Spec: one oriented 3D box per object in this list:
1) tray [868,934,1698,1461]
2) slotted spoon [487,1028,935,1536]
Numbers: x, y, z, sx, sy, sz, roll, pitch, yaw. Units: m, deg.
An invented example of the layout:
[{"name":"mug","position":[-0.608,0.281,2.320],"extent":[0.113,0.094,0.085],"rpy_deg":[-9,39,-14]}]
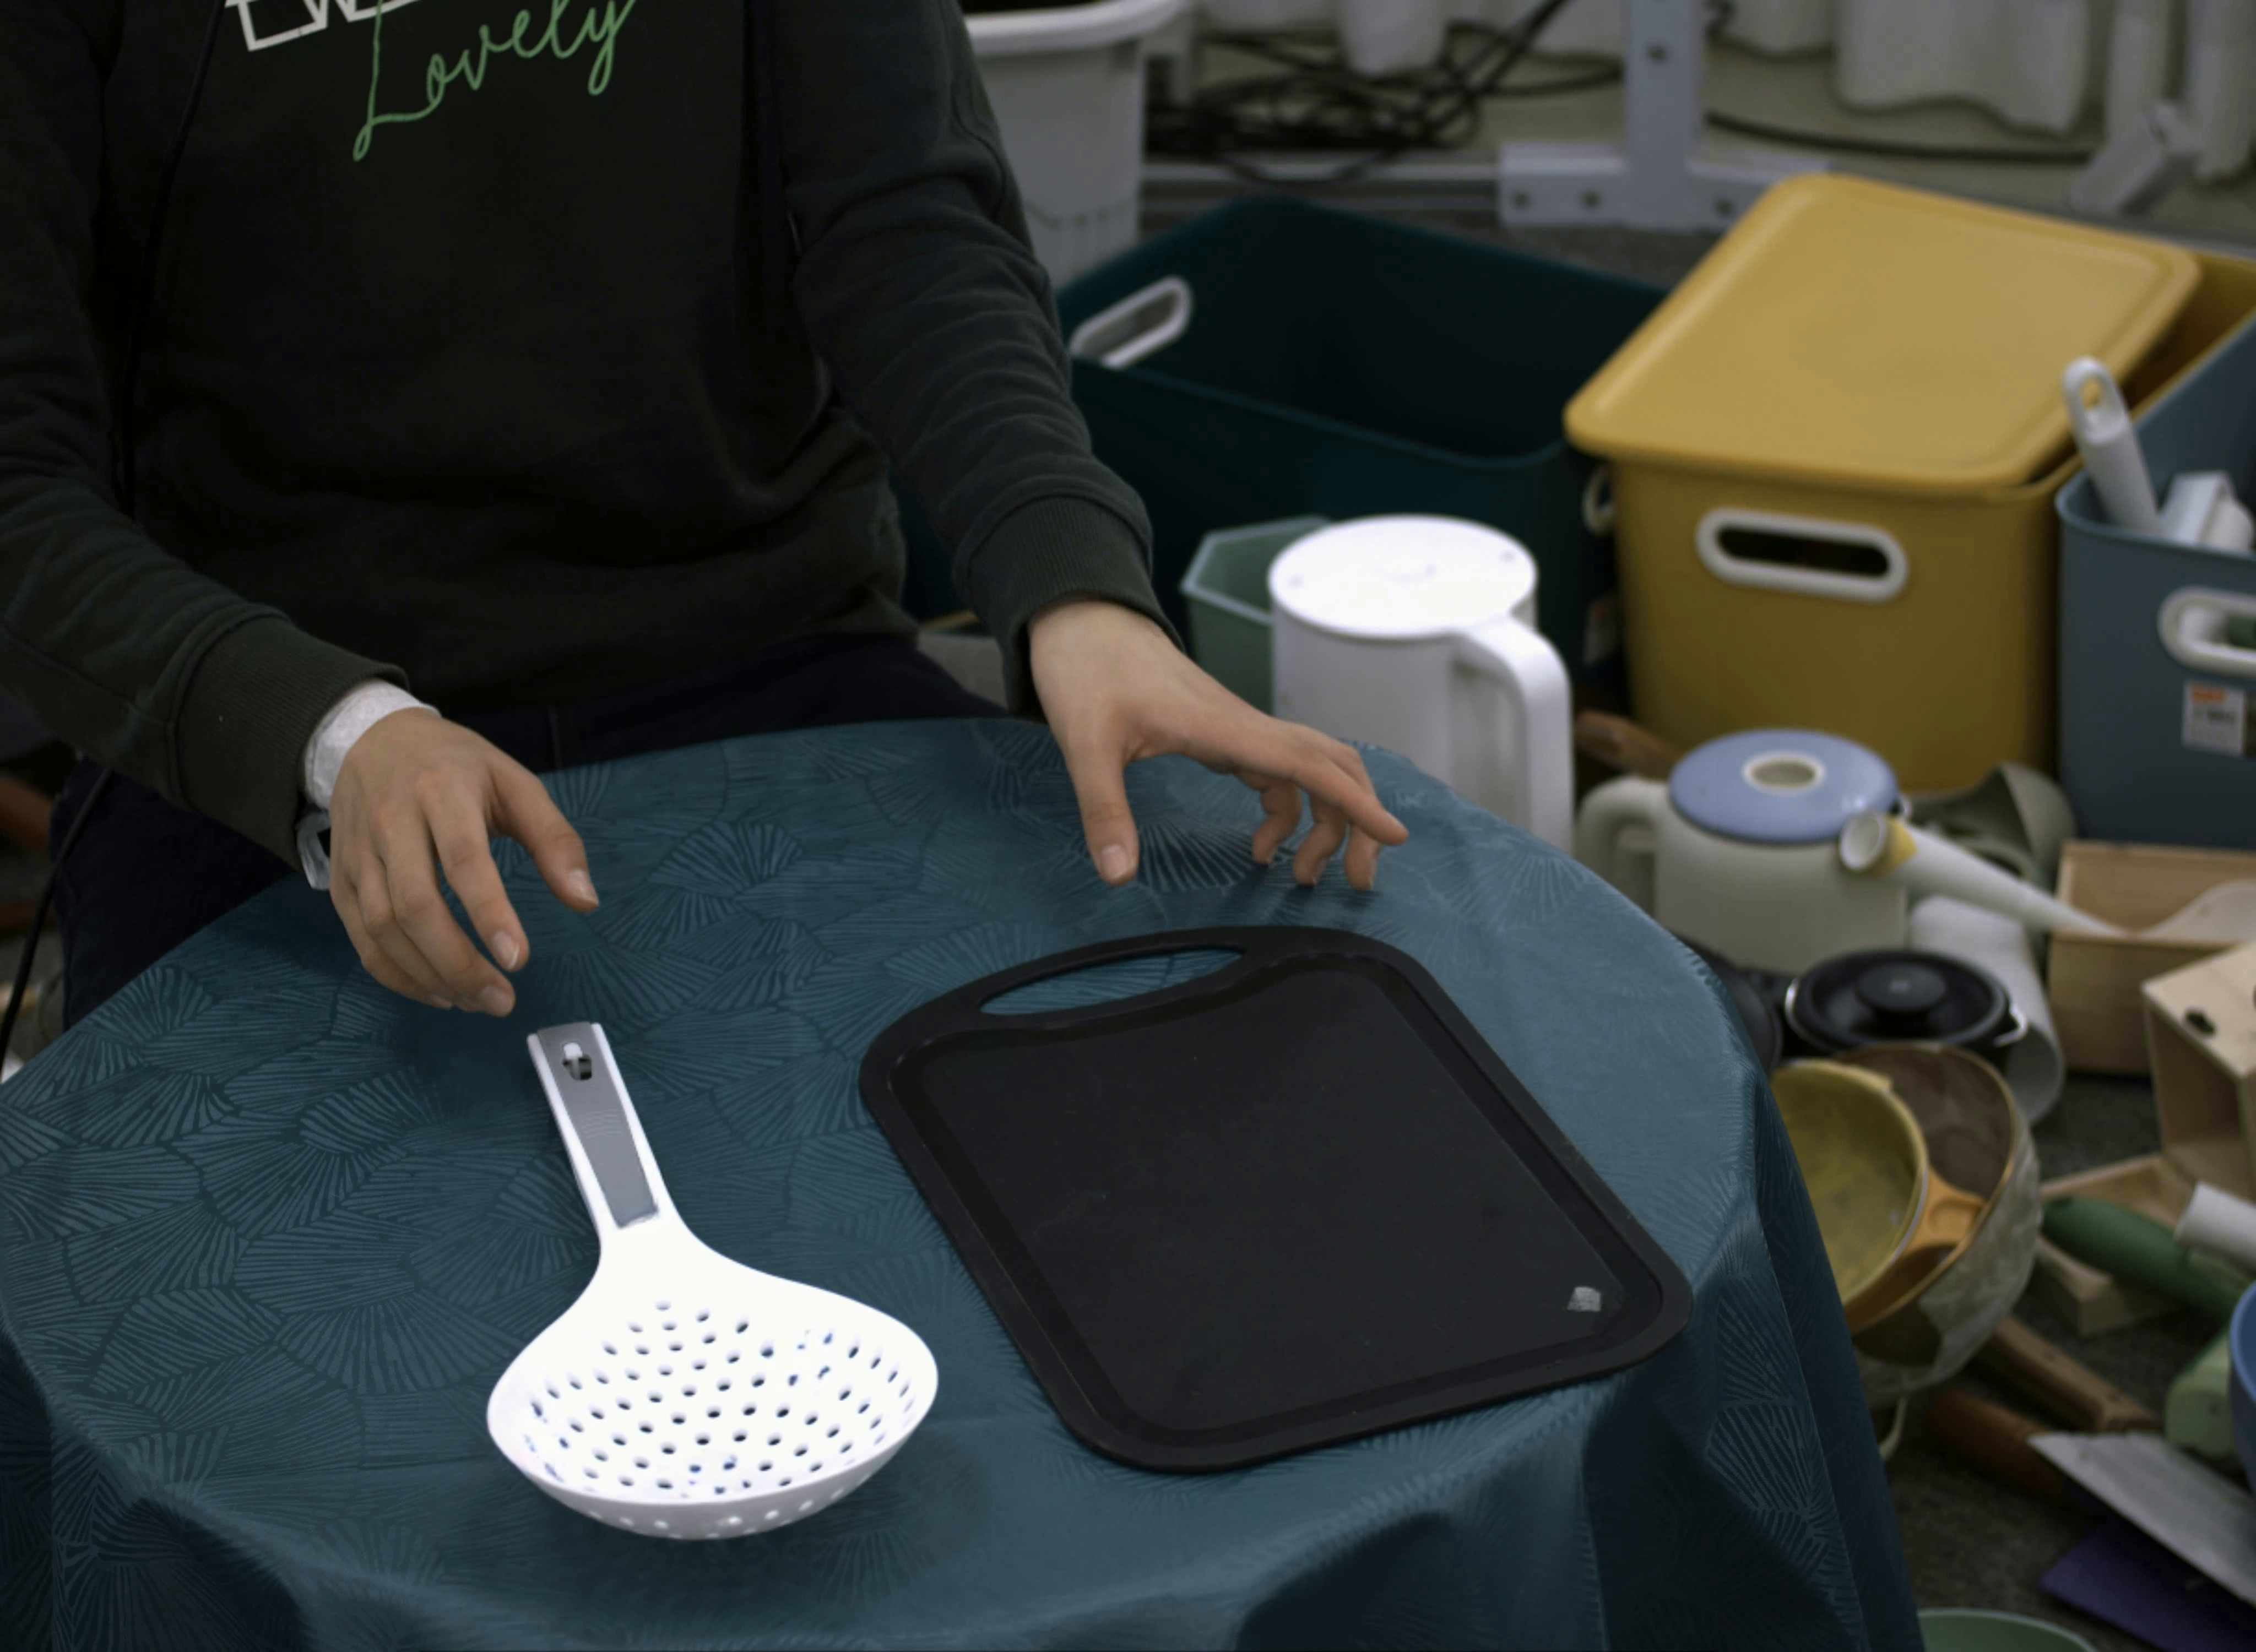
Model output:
[{"name":"tray","position":[0.041,0.113,1.865],"extent":[0.211,0.009,0.328],"rpy_deg":[-11,28,-16]},{"name":"slotted spoon","position":[-0.152,0.139,1.794],"extent":[0.136,0.045,0.353],"rpy_deg":[-7,27,-13]}]
